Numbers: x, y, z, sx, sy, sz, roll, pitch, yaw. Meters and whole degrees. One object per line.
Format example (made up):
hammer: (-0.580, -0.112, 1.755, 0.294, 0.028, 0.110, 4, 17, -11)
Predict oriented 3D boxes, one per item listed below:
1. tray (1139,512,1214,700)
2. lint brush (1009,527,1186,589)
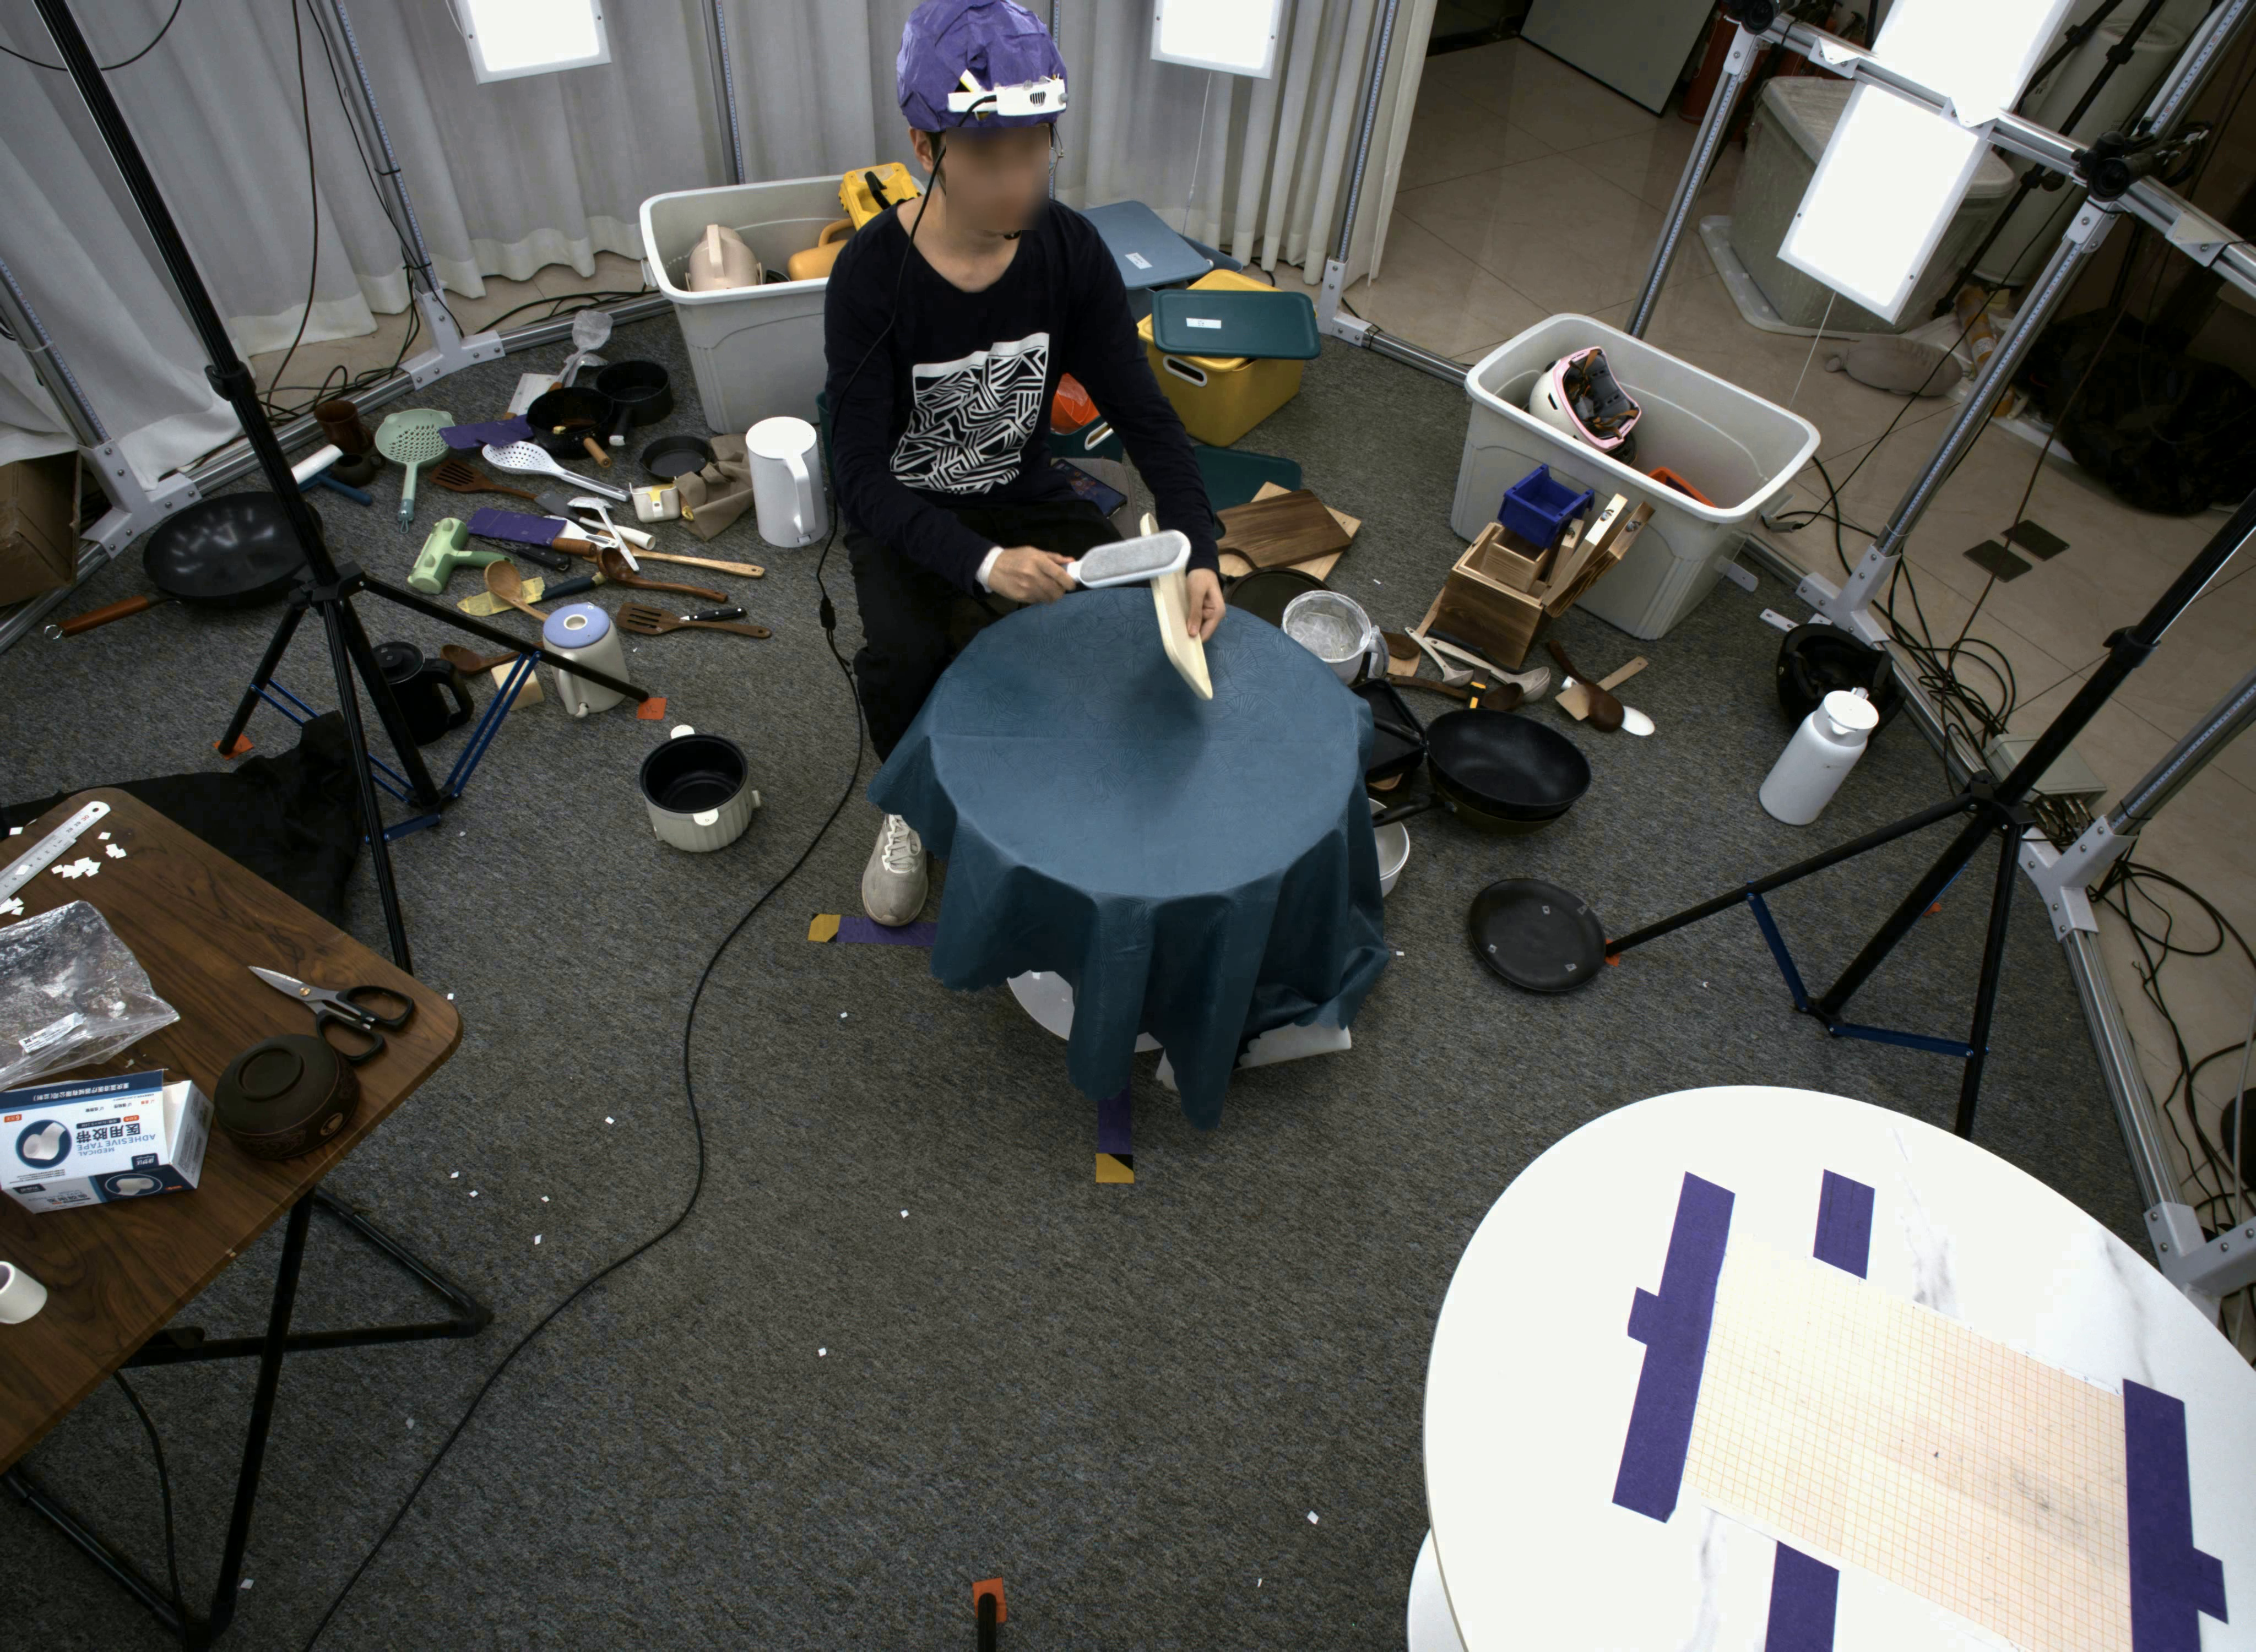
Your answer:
tray: (0.065, -0.297, 1.755, 0.017, 0.168, 0.244, -18, 65, 17)
lint brush: (-0.046, -0.351, 1.720, 0.310, 0.020, 0.060, -2, 77, 41)
